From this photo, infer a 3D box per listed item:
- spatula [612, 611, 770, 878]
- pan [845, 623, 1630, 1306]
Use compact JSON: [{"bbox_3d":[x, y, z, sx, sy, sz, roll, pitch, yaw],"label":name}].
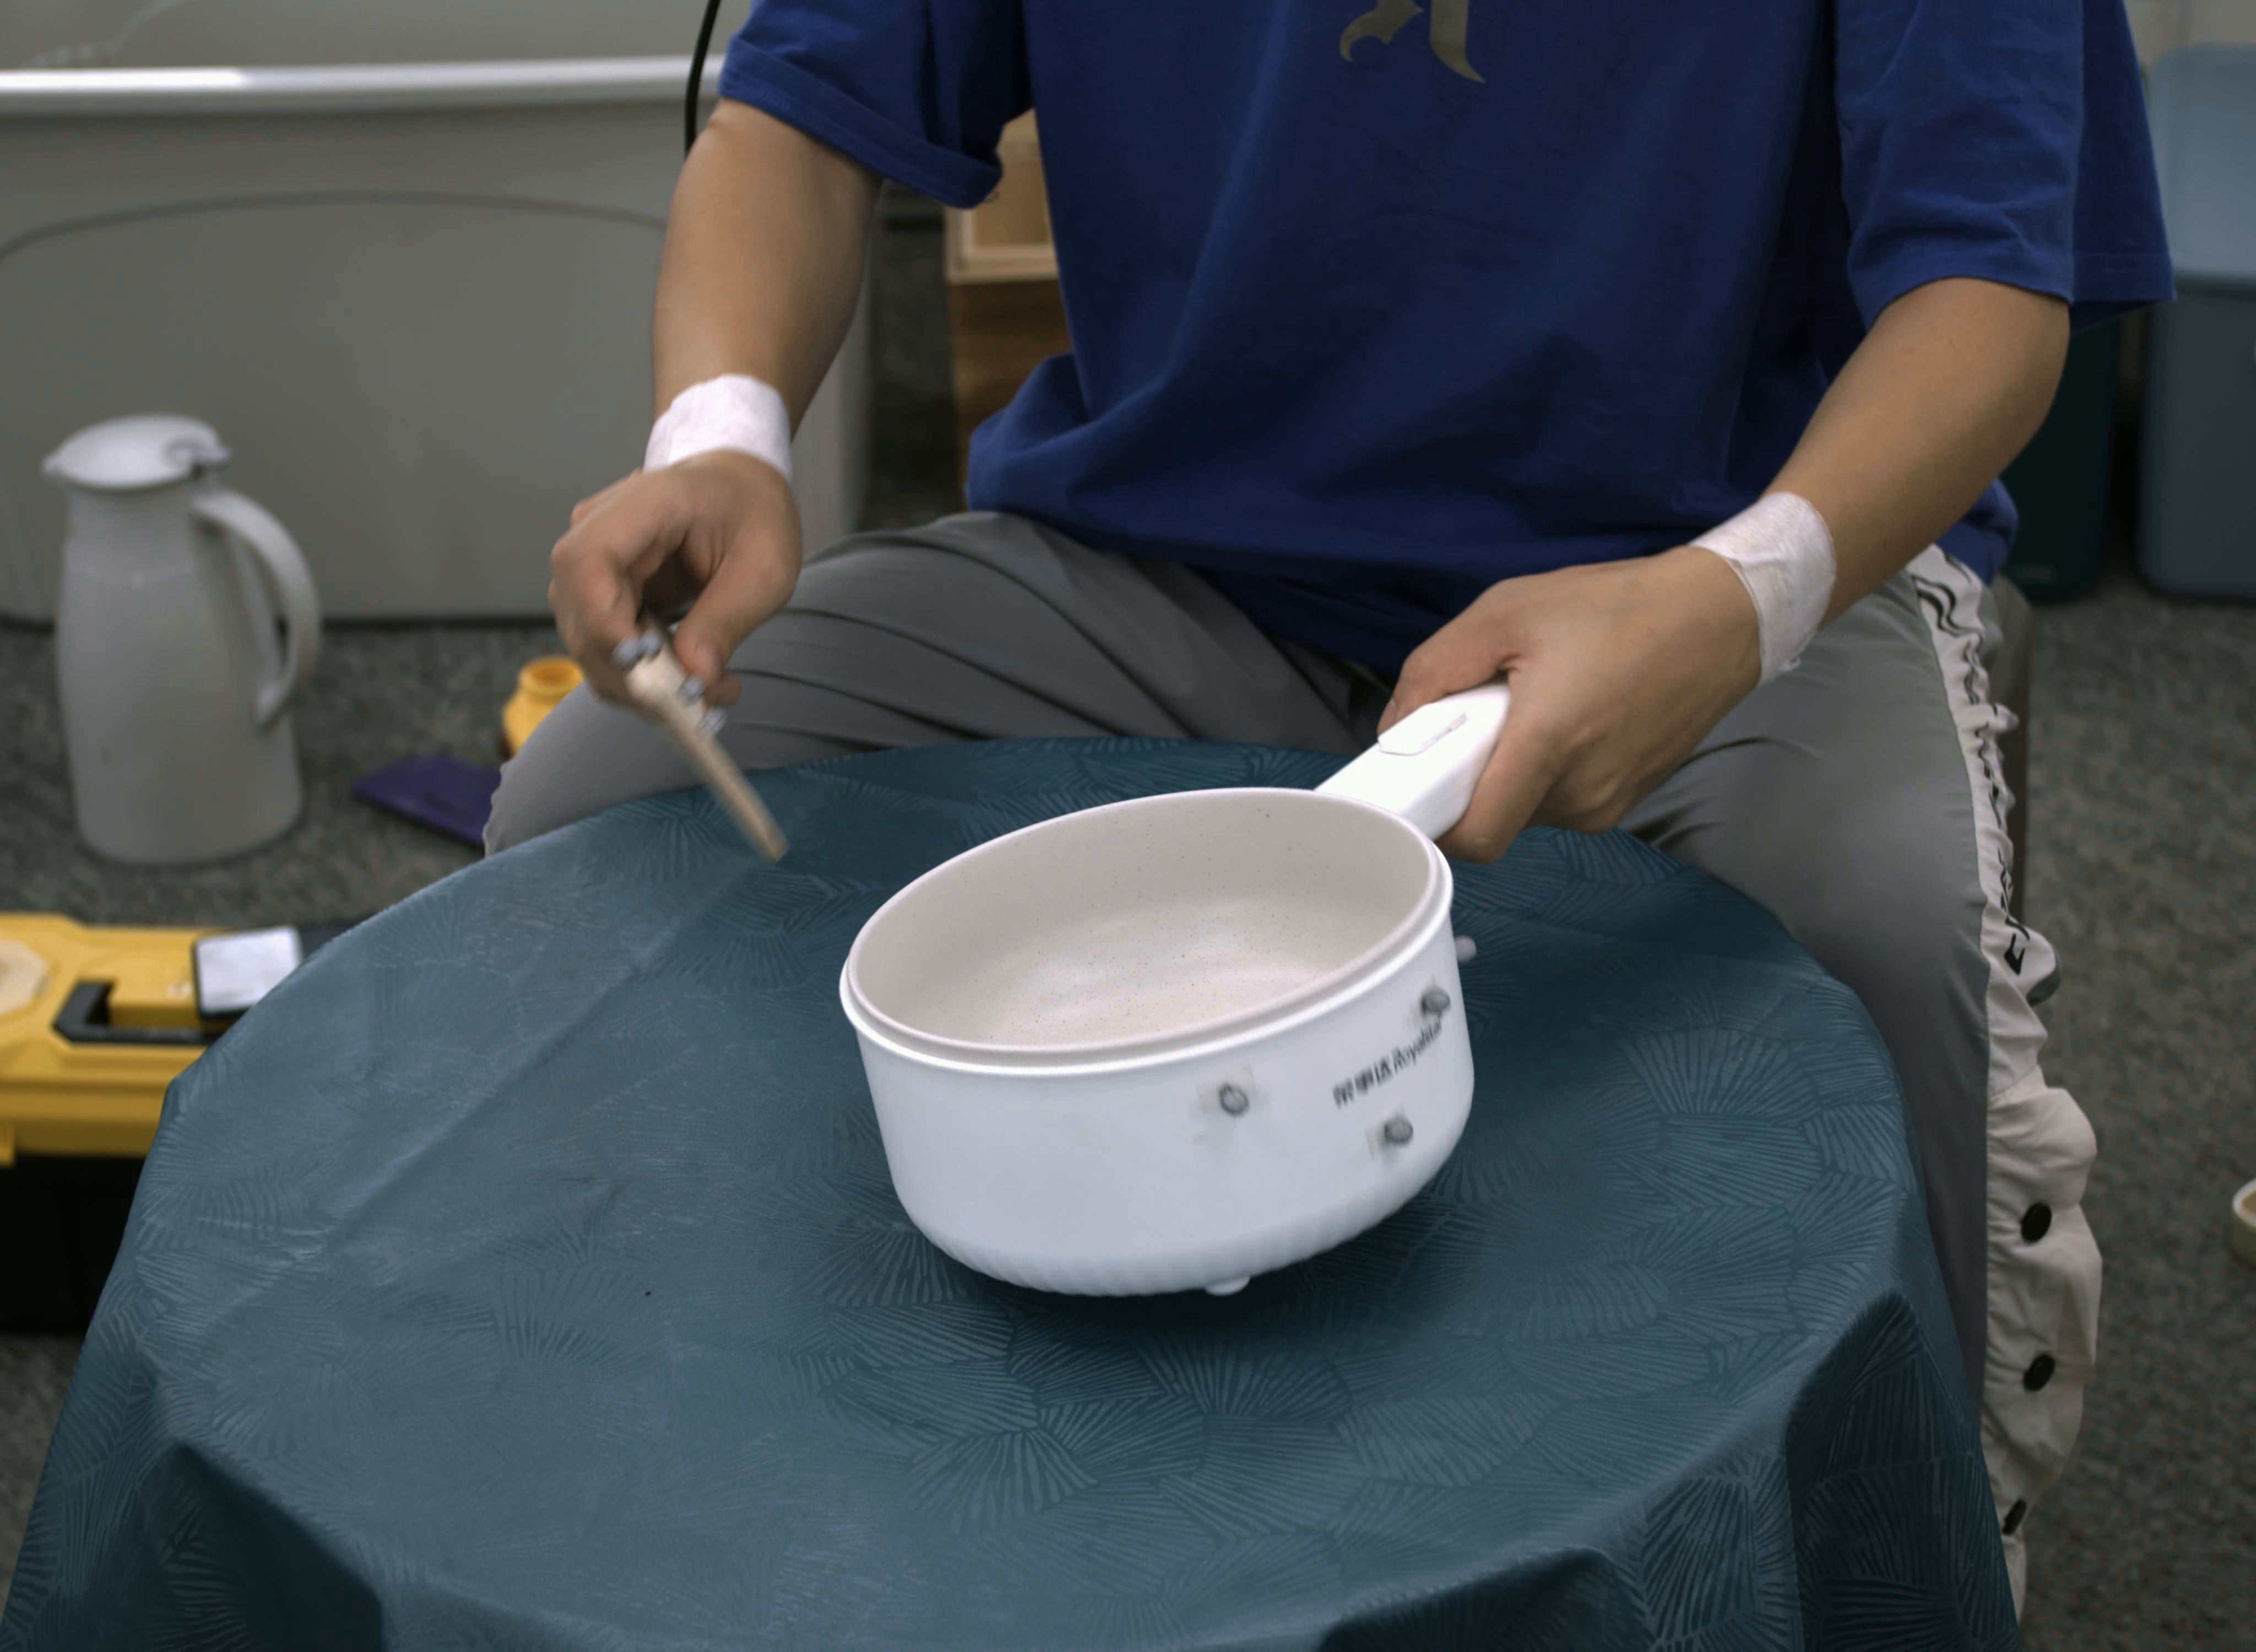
[{"bbox_3d":[-0.156,-0.039,1.936,0.010,0.072,0.294,-39,14,2],"label":"spatula"},{"bbox_3d":[0.060,0.044,1.881,0.199,0.101,0.360,6,28,38],"label":"pan"}]
